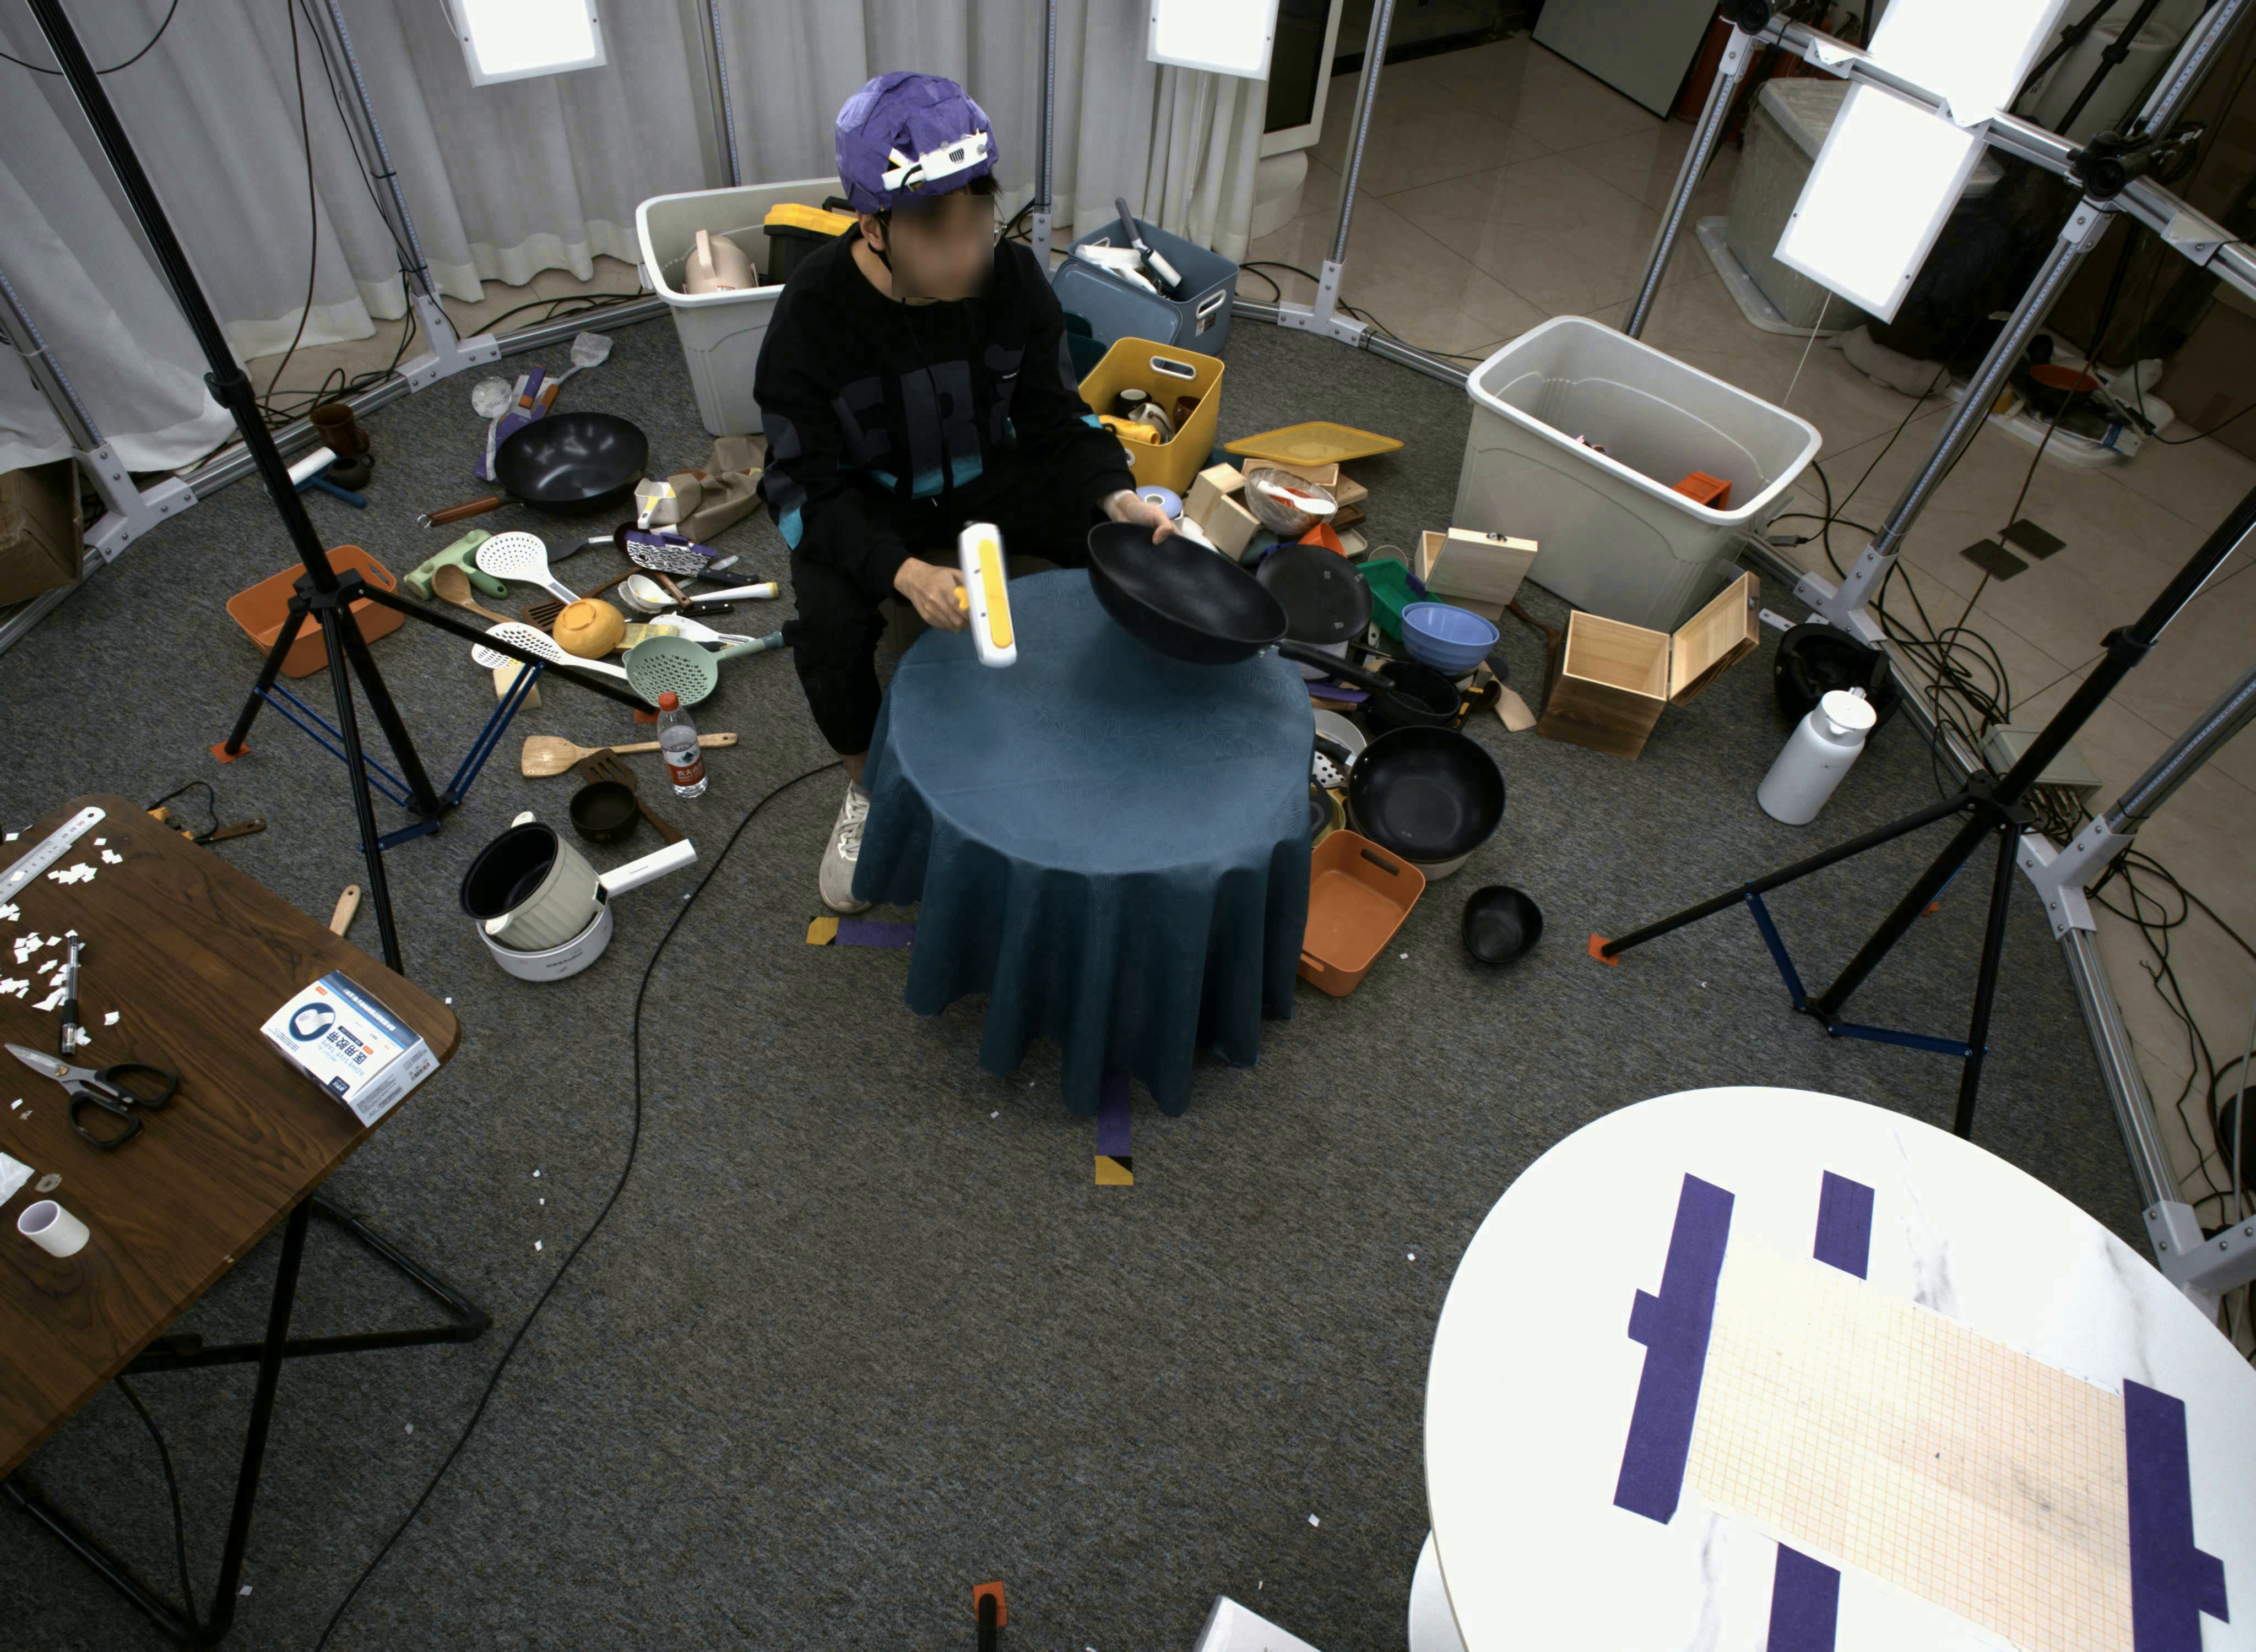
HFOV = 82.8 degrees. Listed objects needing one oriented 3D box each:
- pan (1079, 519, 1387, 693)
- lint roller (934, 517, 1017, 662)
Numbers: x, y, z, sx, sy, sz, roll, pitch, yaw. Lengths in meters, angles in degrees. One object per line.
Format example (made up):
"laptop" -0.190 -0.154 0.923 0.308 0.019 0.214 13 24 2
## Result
"pan" 0.132 -0.277 1.784 0.481 0.109 0.313 35 32 14
"lint roller" -0.216 -0.311 1.776 0.074 0.192 0.193 -11 88 -23
